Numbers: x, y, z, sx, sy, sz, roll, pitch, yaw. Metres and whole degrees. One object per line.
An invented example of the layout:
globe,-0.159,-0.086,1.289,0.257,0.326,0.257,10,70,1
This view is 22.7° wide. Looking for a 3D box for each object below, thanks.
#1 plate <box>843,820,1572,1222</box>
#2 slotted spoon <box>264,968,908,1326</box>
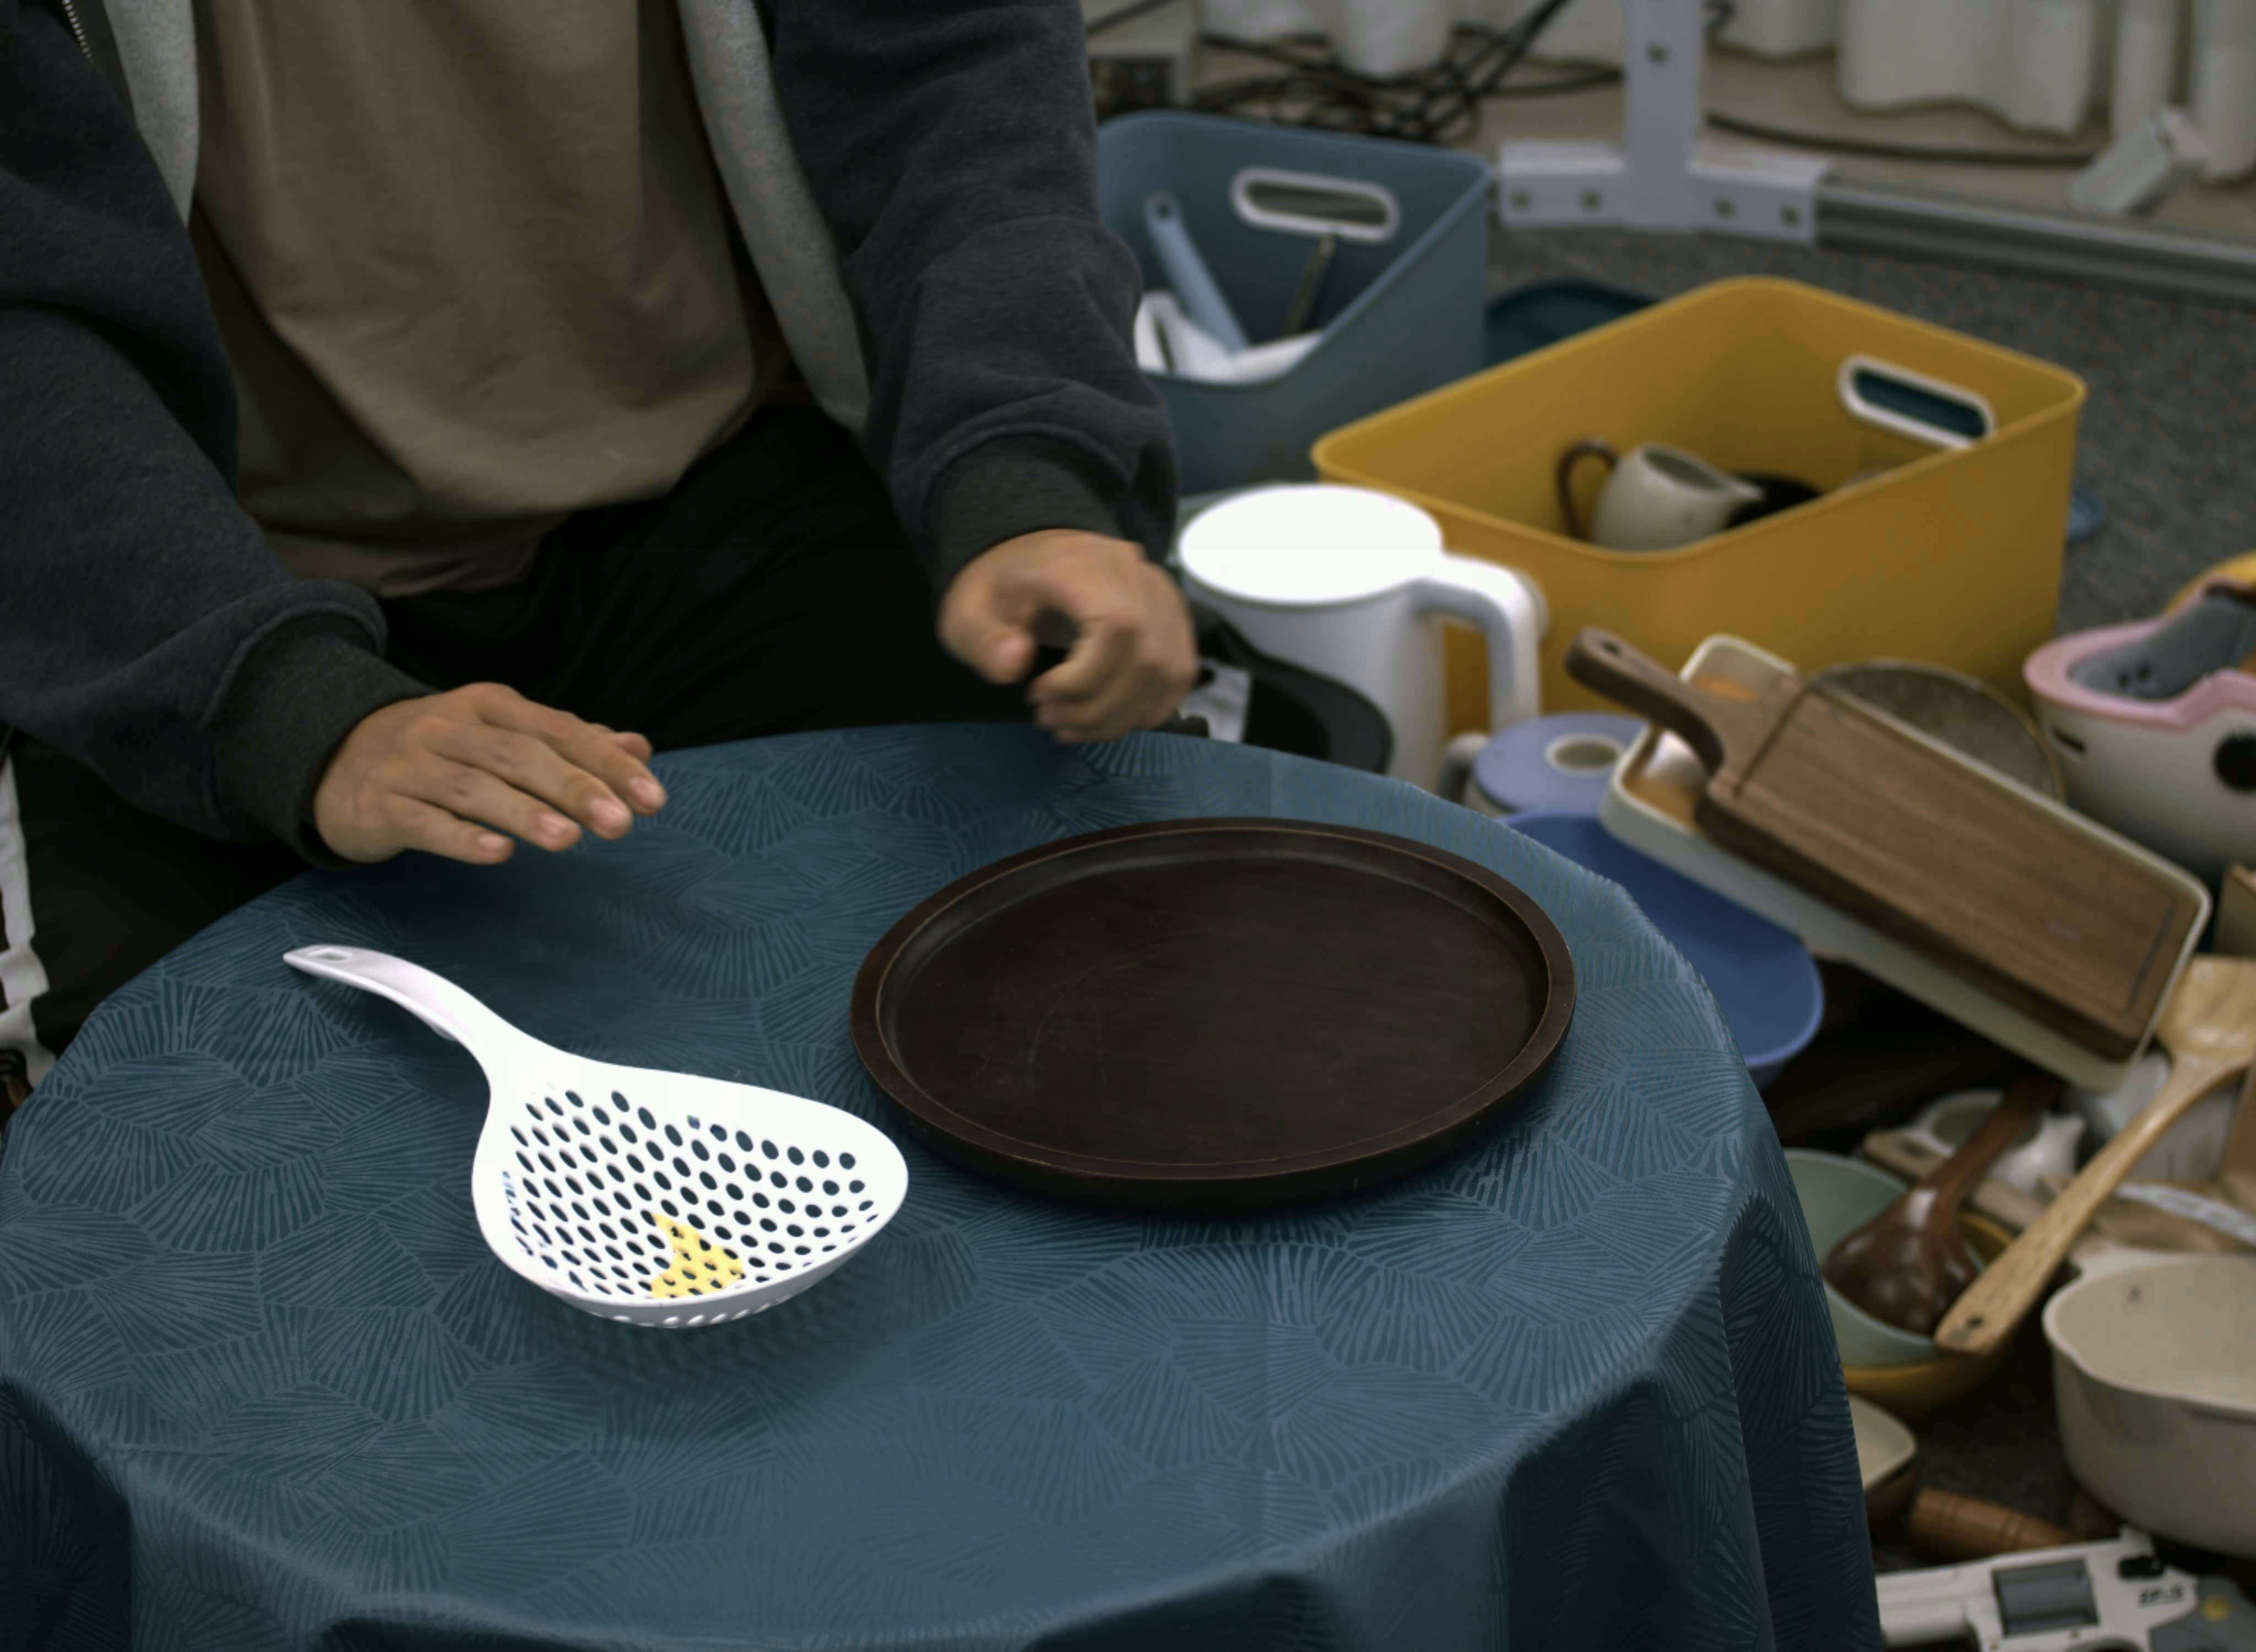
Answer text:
plate,0.028,0.065,1.943,0.253,0.029,0.259,-3,28,2
slotted spoon,-0.201,0.094,1.892,0.138,0.050,0.348,-22,33,-29
